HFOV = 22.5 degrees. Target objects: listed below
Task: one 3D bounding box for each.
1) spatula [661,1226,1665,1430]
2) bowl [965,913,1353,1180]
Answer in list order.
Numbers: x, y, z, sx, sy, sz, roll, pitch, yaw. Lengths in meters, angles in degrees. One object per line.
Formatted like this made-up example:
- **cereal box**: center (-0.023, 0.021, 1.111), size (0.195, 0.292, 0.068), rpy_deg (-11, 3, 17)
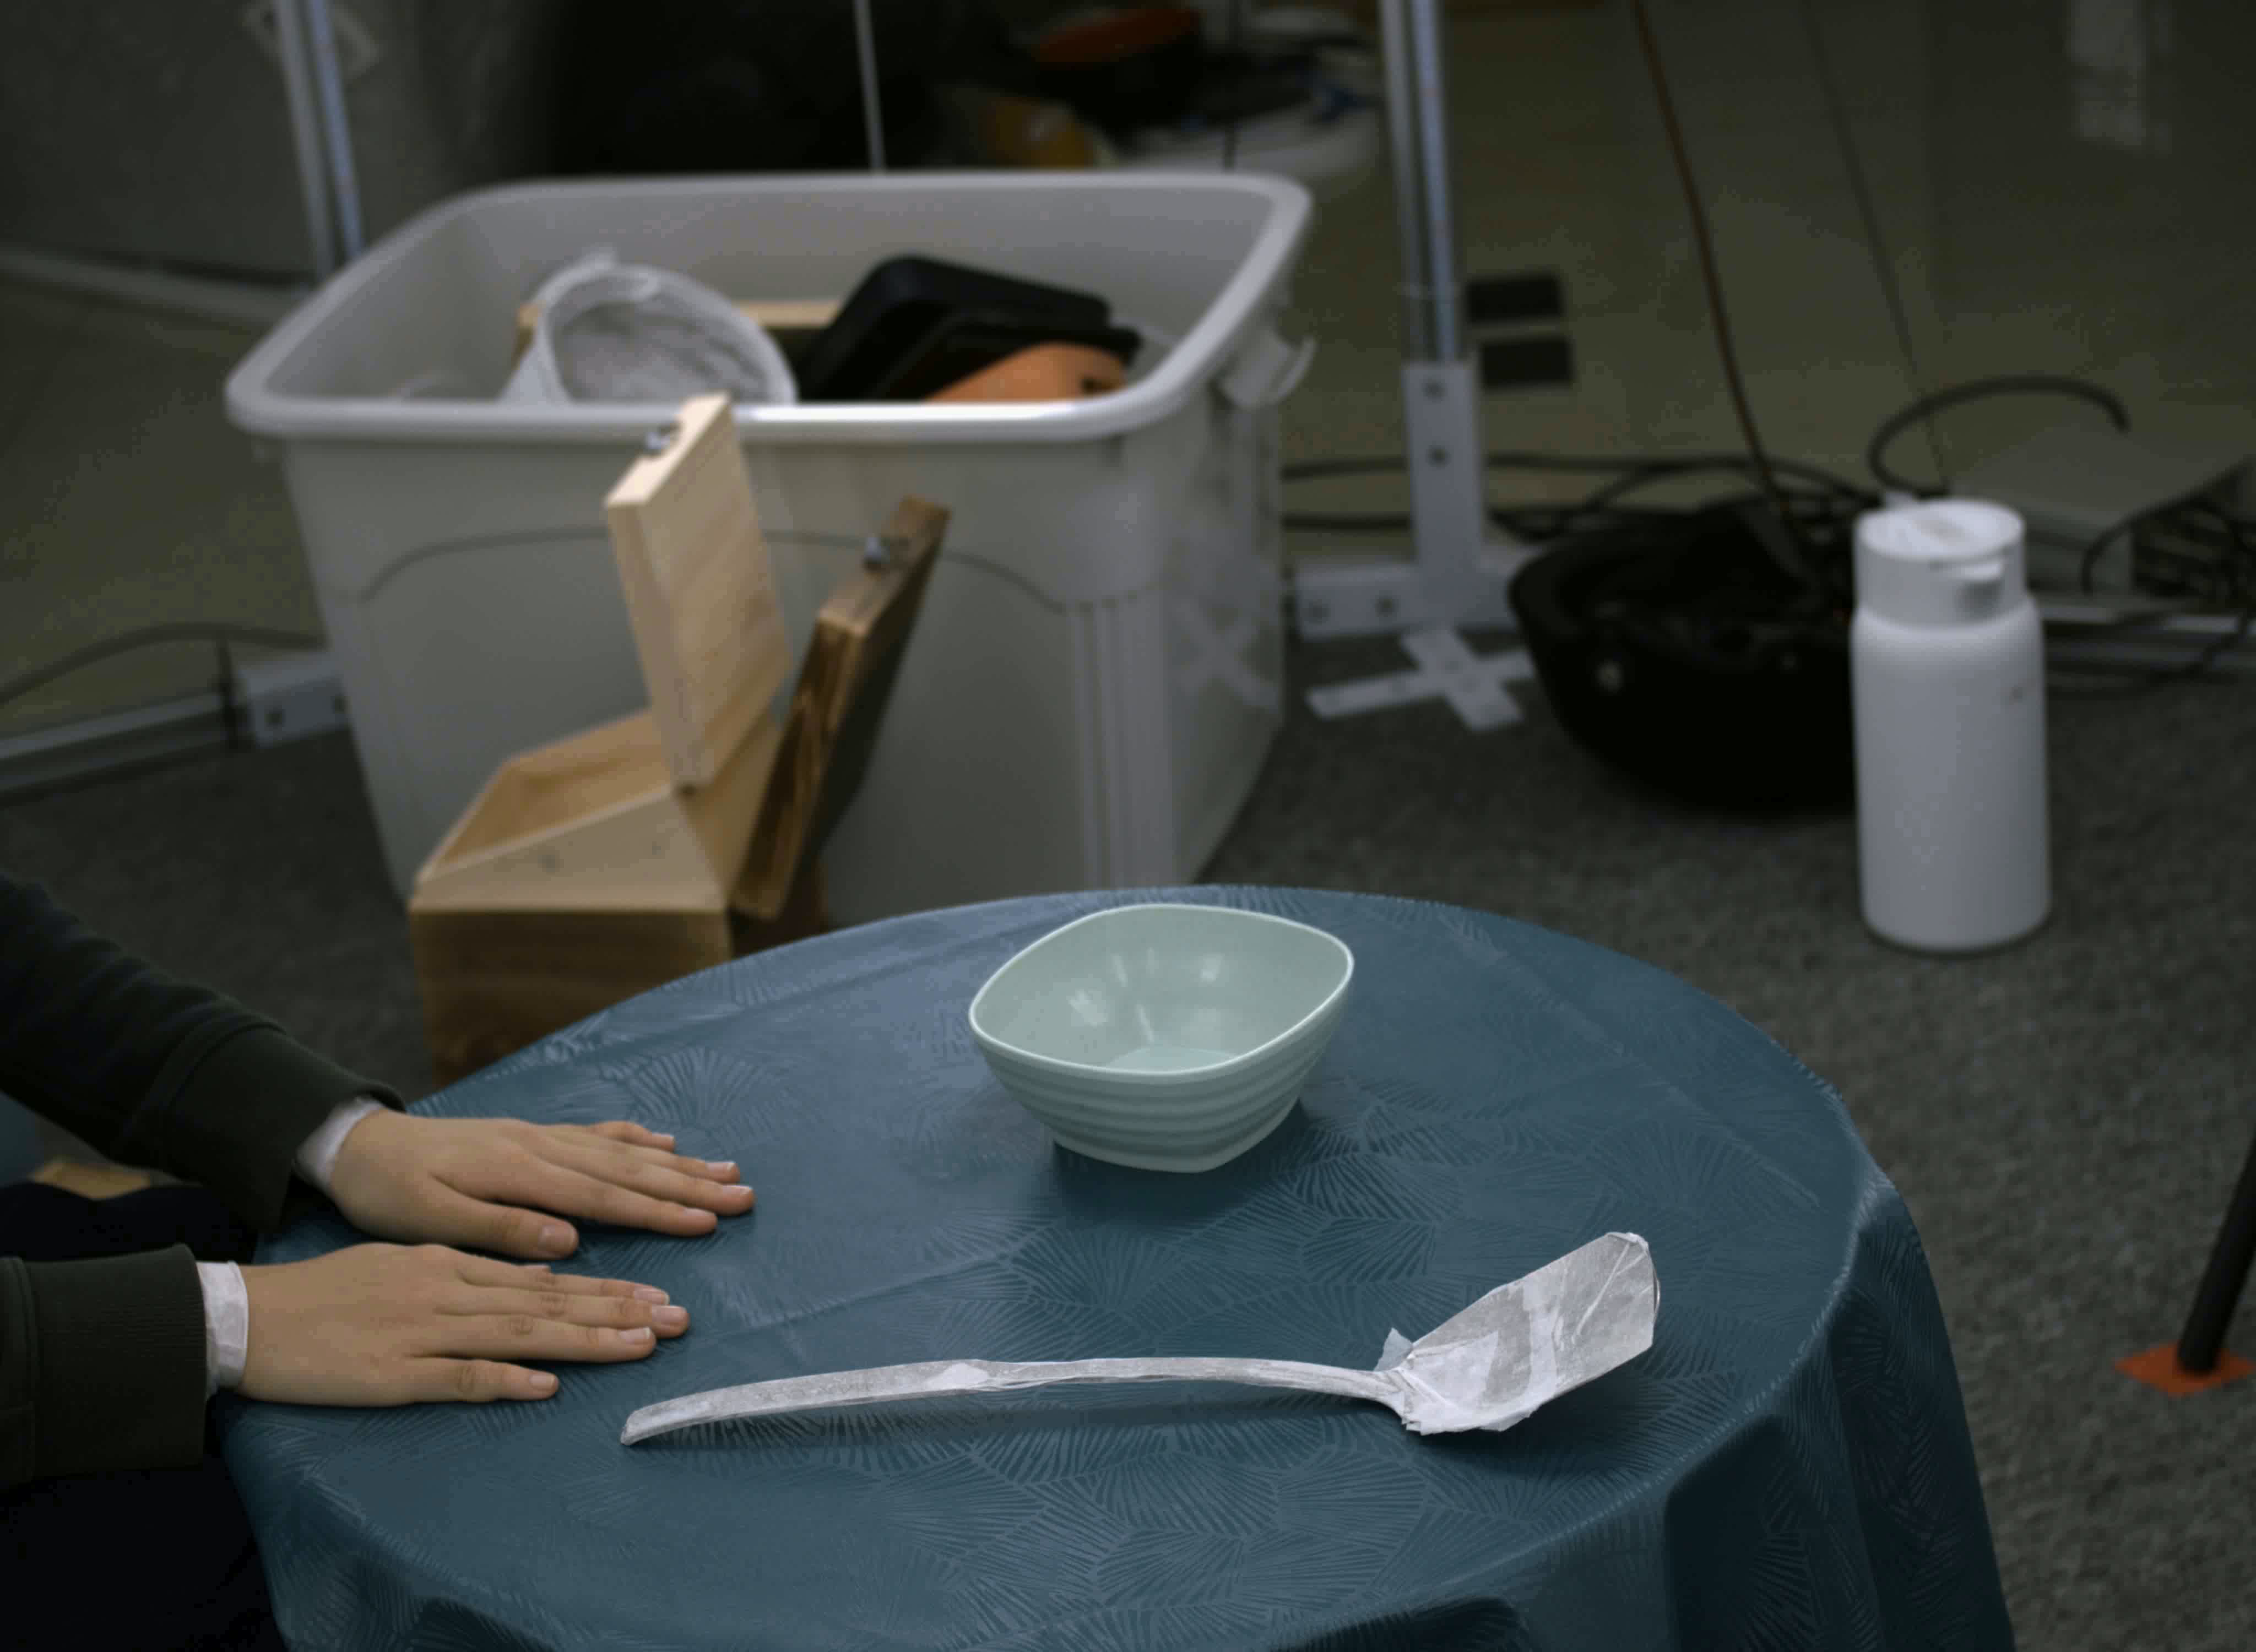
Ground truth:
- **spatula**: center (0.008, 0.187, 2.002), size (0.364, 0.045, 0.097), rpy_deg (-3, 27, 8)
- **bowl**: center (0.014, 0.090, 2.190), size (0.151, 0.059, 0.149), rpy_deg (-3, 24, 2)
